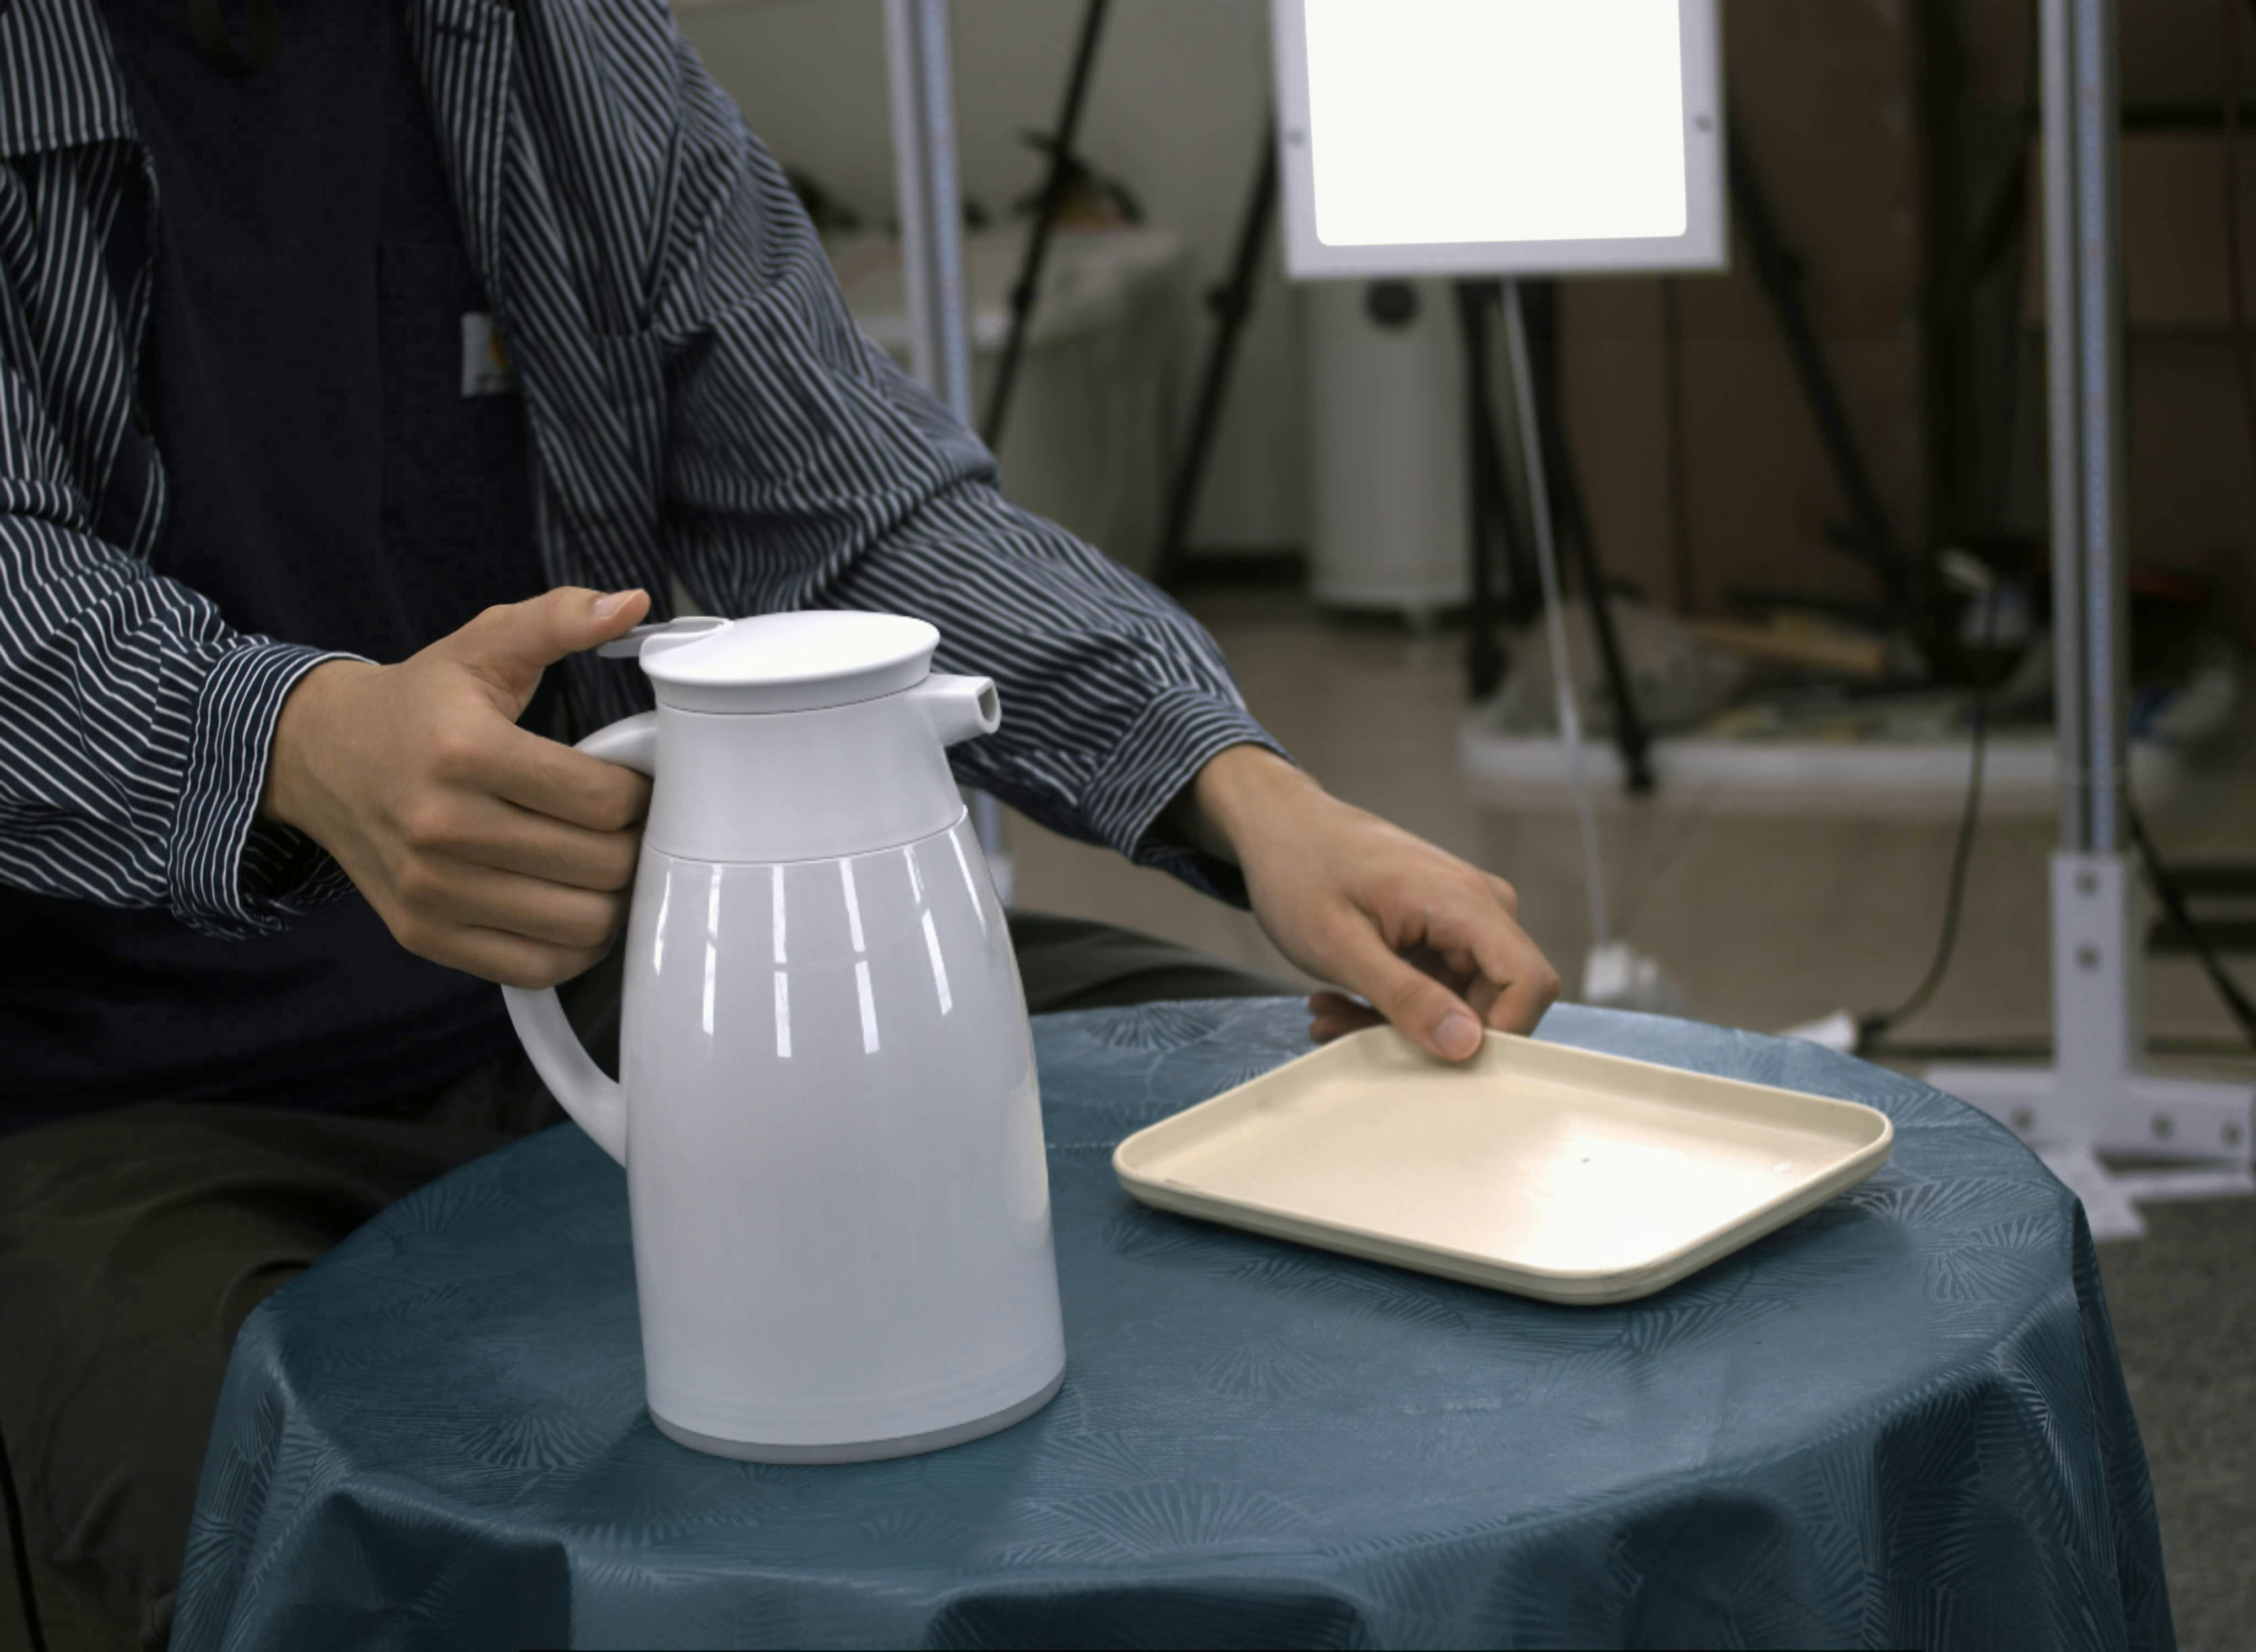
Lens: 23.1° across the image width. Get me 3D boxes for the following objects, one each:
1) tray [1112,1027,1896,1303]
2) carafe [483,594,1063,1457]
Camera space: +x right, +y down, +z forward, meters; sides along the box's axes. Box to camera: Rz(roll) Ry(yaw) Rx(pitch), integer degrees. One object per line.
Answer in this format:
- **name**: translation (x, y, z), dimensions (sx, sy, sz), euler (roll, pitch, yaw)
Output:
- **tray**: translation (0.126, 0.113, 1.847), dimensions (0.167, 0.017, 0.245), euler (-21, 21, -41)
- **carafe**: translation (-0.113, 0.055, 1.694), dimensions (0.169, 0.249, 0.131), euler (-2, 14, 13)
